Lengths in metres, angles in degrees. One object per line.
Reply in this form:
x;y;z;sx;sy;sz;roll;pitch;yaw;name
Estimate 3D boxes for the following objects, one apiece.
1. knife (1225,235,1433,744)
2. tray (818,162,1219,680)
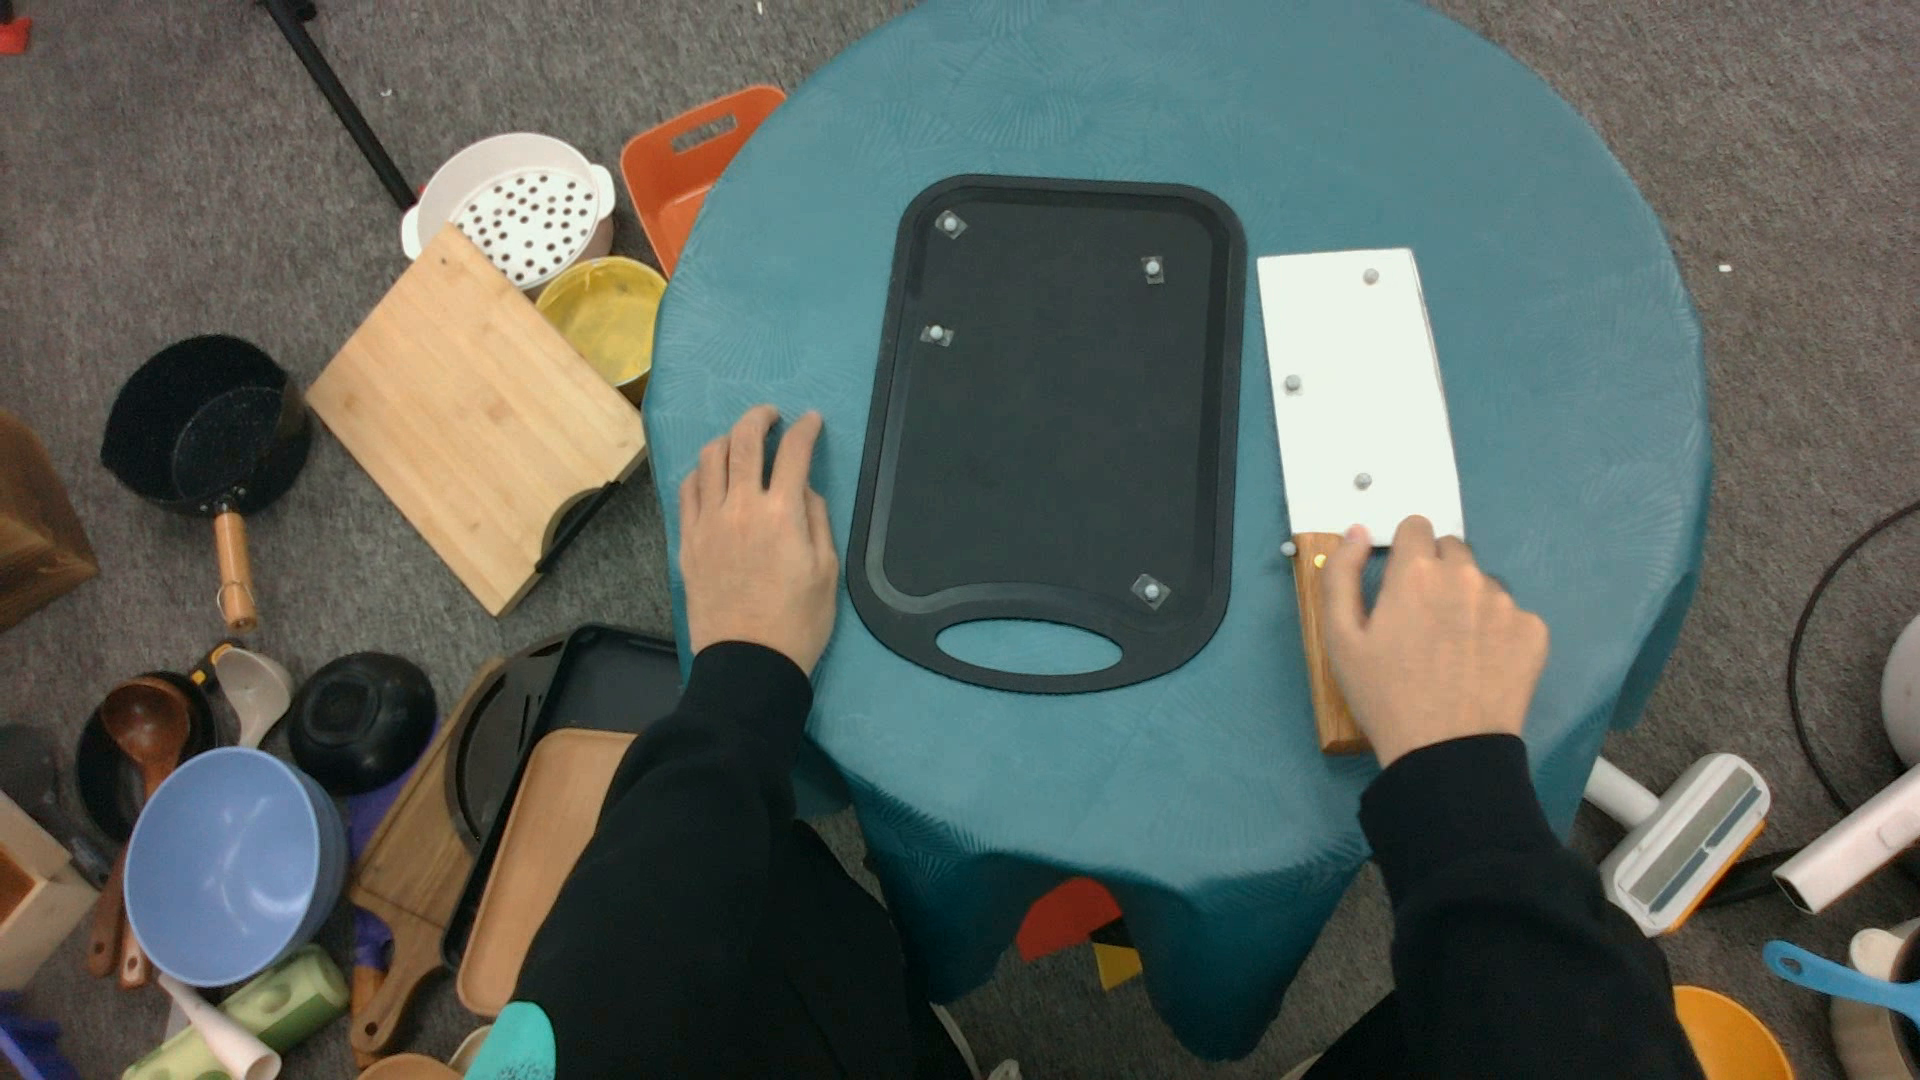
0.205;-0.040;0.749;0.093;0.021;0.307;-3;65;1;knife
0.037;-0.078;0.779;0.211;0.010;0.326;5;68;5;tray
